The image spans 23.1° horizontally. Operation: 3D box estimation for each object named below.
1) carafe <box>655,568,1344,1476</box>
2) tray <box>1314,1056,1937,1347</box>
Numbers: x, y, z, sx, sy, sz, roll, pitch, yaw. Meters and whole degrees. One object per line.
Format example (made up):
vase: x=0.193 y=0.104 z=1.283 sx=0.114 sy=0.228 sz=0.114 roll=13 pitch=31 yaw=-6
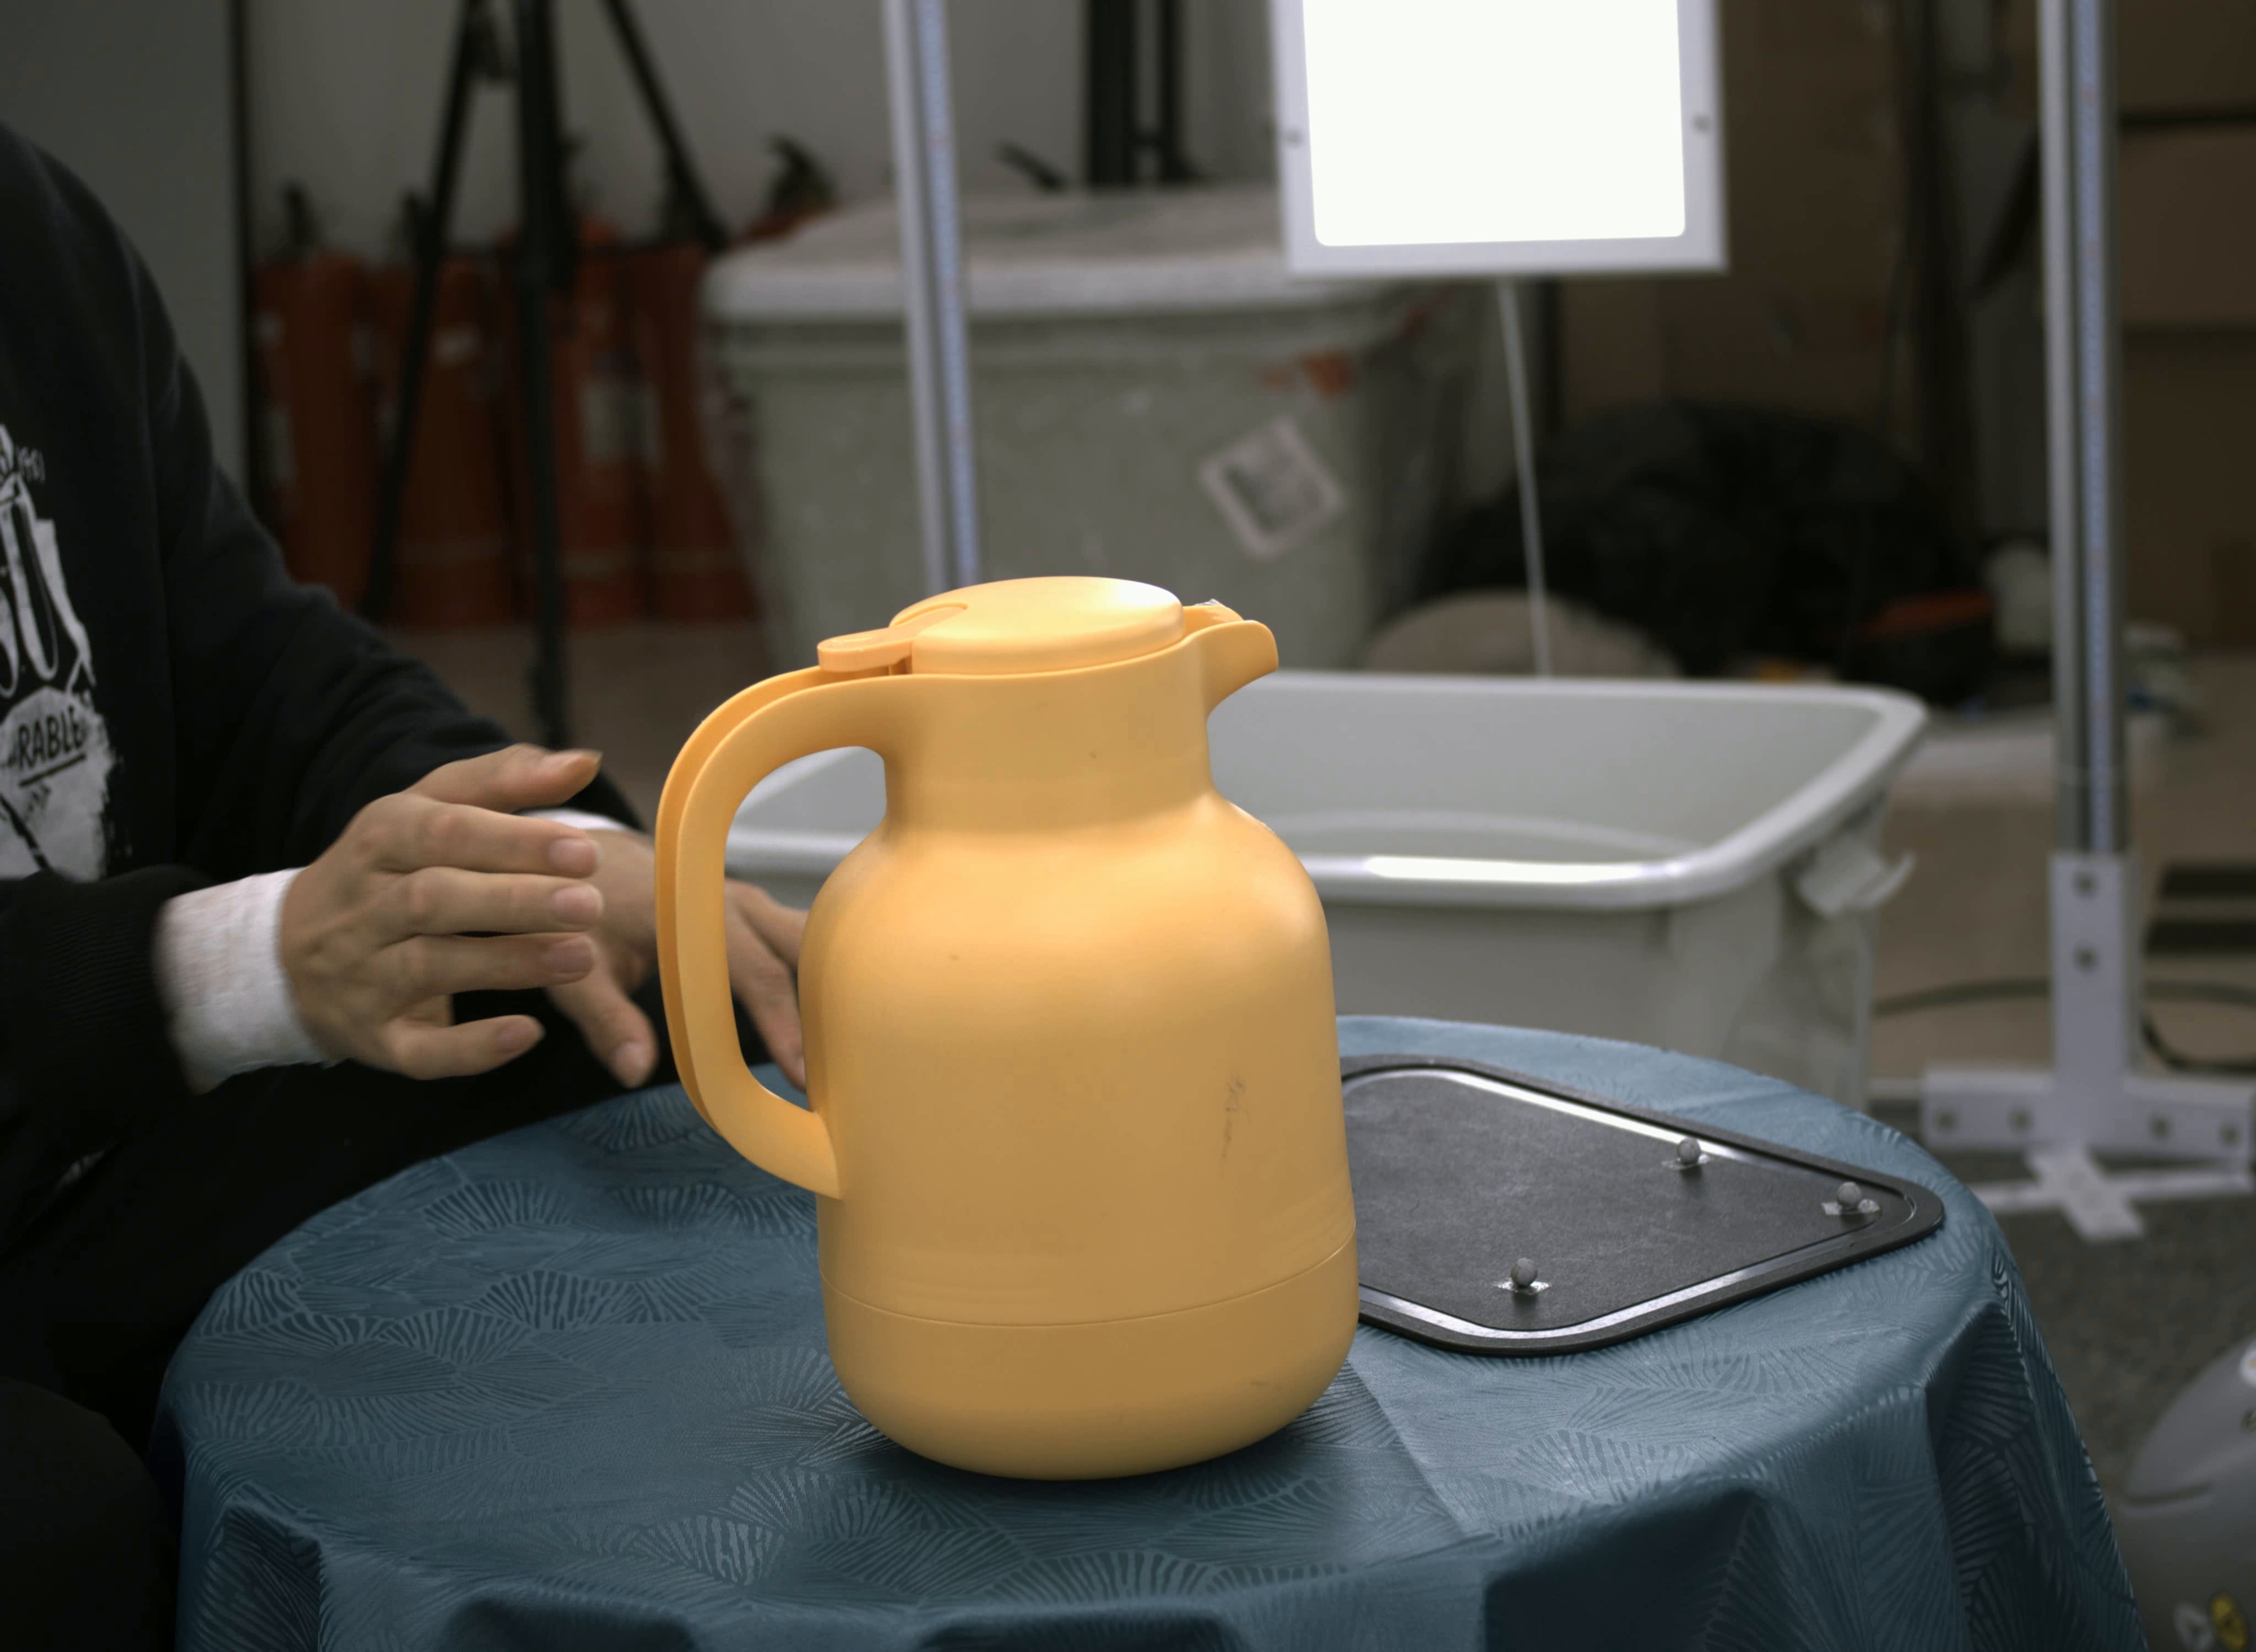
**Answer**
carafe: x=-0.039 y=0.056 z=1.645 sx=0.199 sy=0.261 sz=0.165 roll=-6 pitch=11 yaw=-14
tray: x=0.106 y=0.121 z=1.868 sx=0.206 sy=0.010 sz=0.332 roll=-14 pitch=16 yaw=-33
